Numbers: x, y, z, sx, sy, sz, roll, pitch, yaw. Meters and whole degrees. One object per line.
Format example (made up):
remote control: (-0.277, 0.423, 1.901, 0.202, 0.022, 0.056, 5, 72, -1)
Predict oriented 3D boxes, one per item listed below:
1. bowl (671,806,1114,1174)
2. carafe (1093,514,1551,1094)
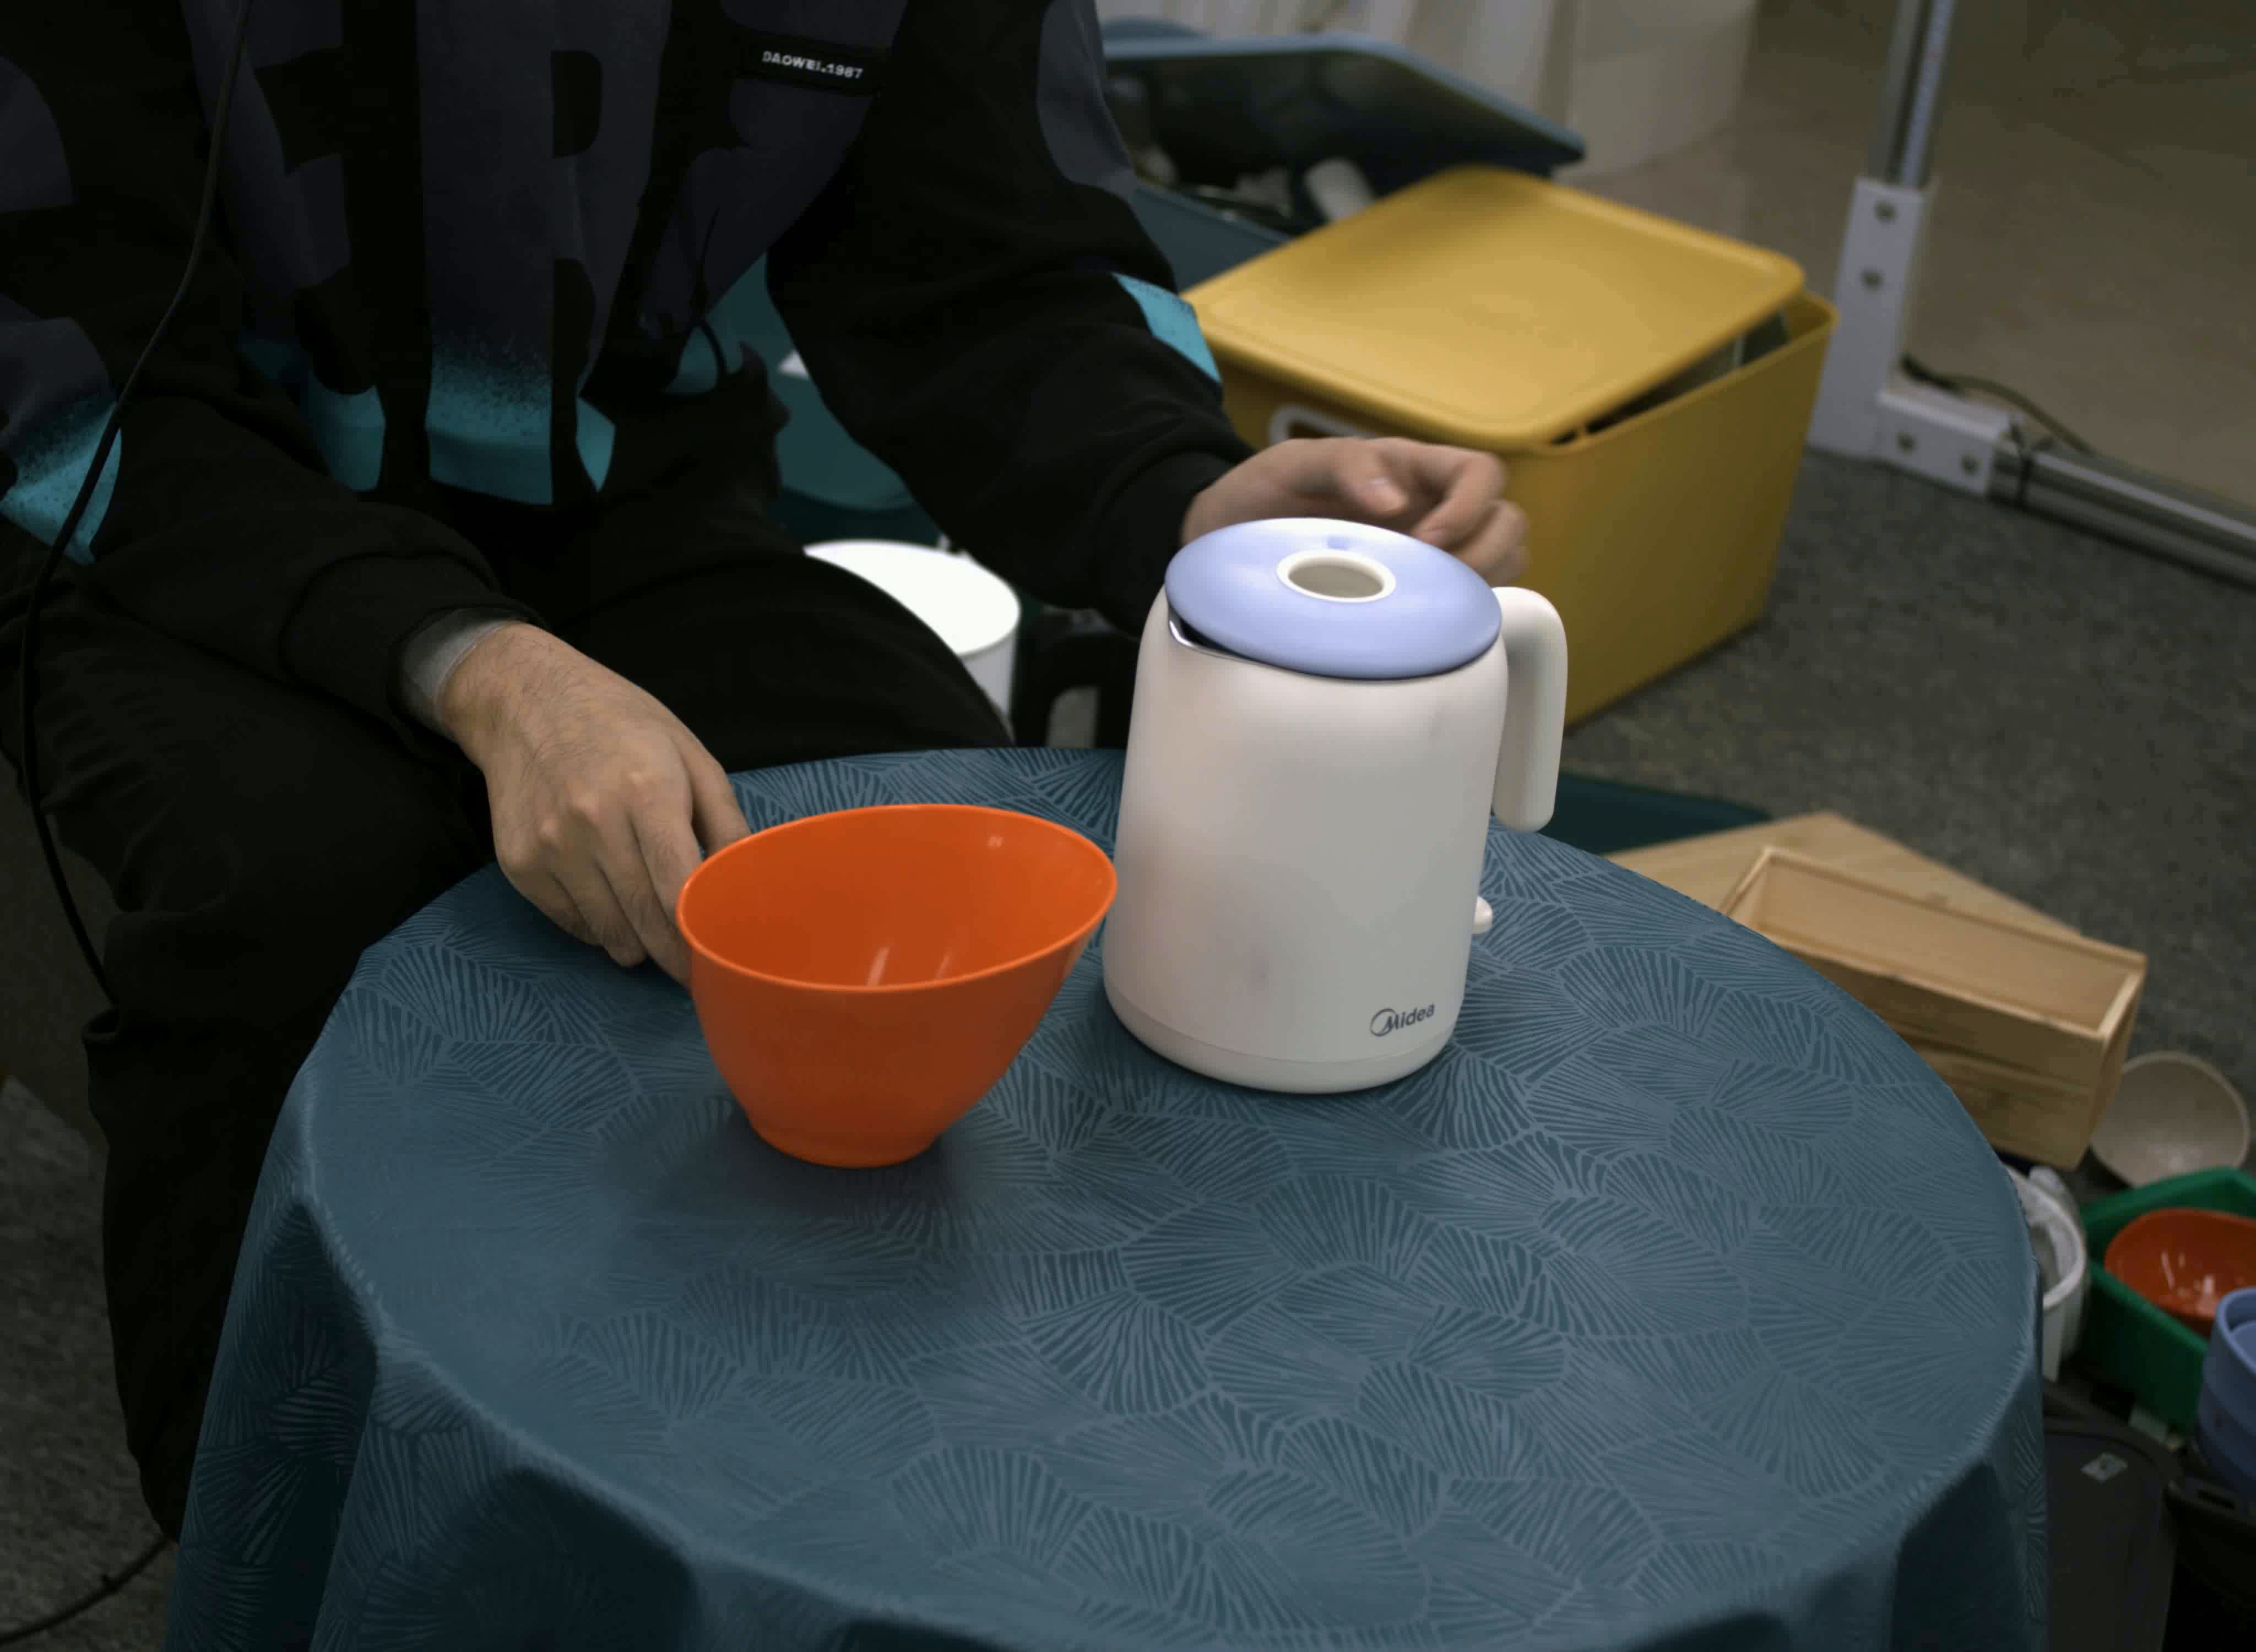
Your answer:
bowl: (-0.084, 0.060, 1.795, 0.147, 0.104, 0.149, 6, 27, -3)
carafe: (0.080, -0.013, 1.898, 0.190, 0.182, 0.133, -13, 34, -38)
